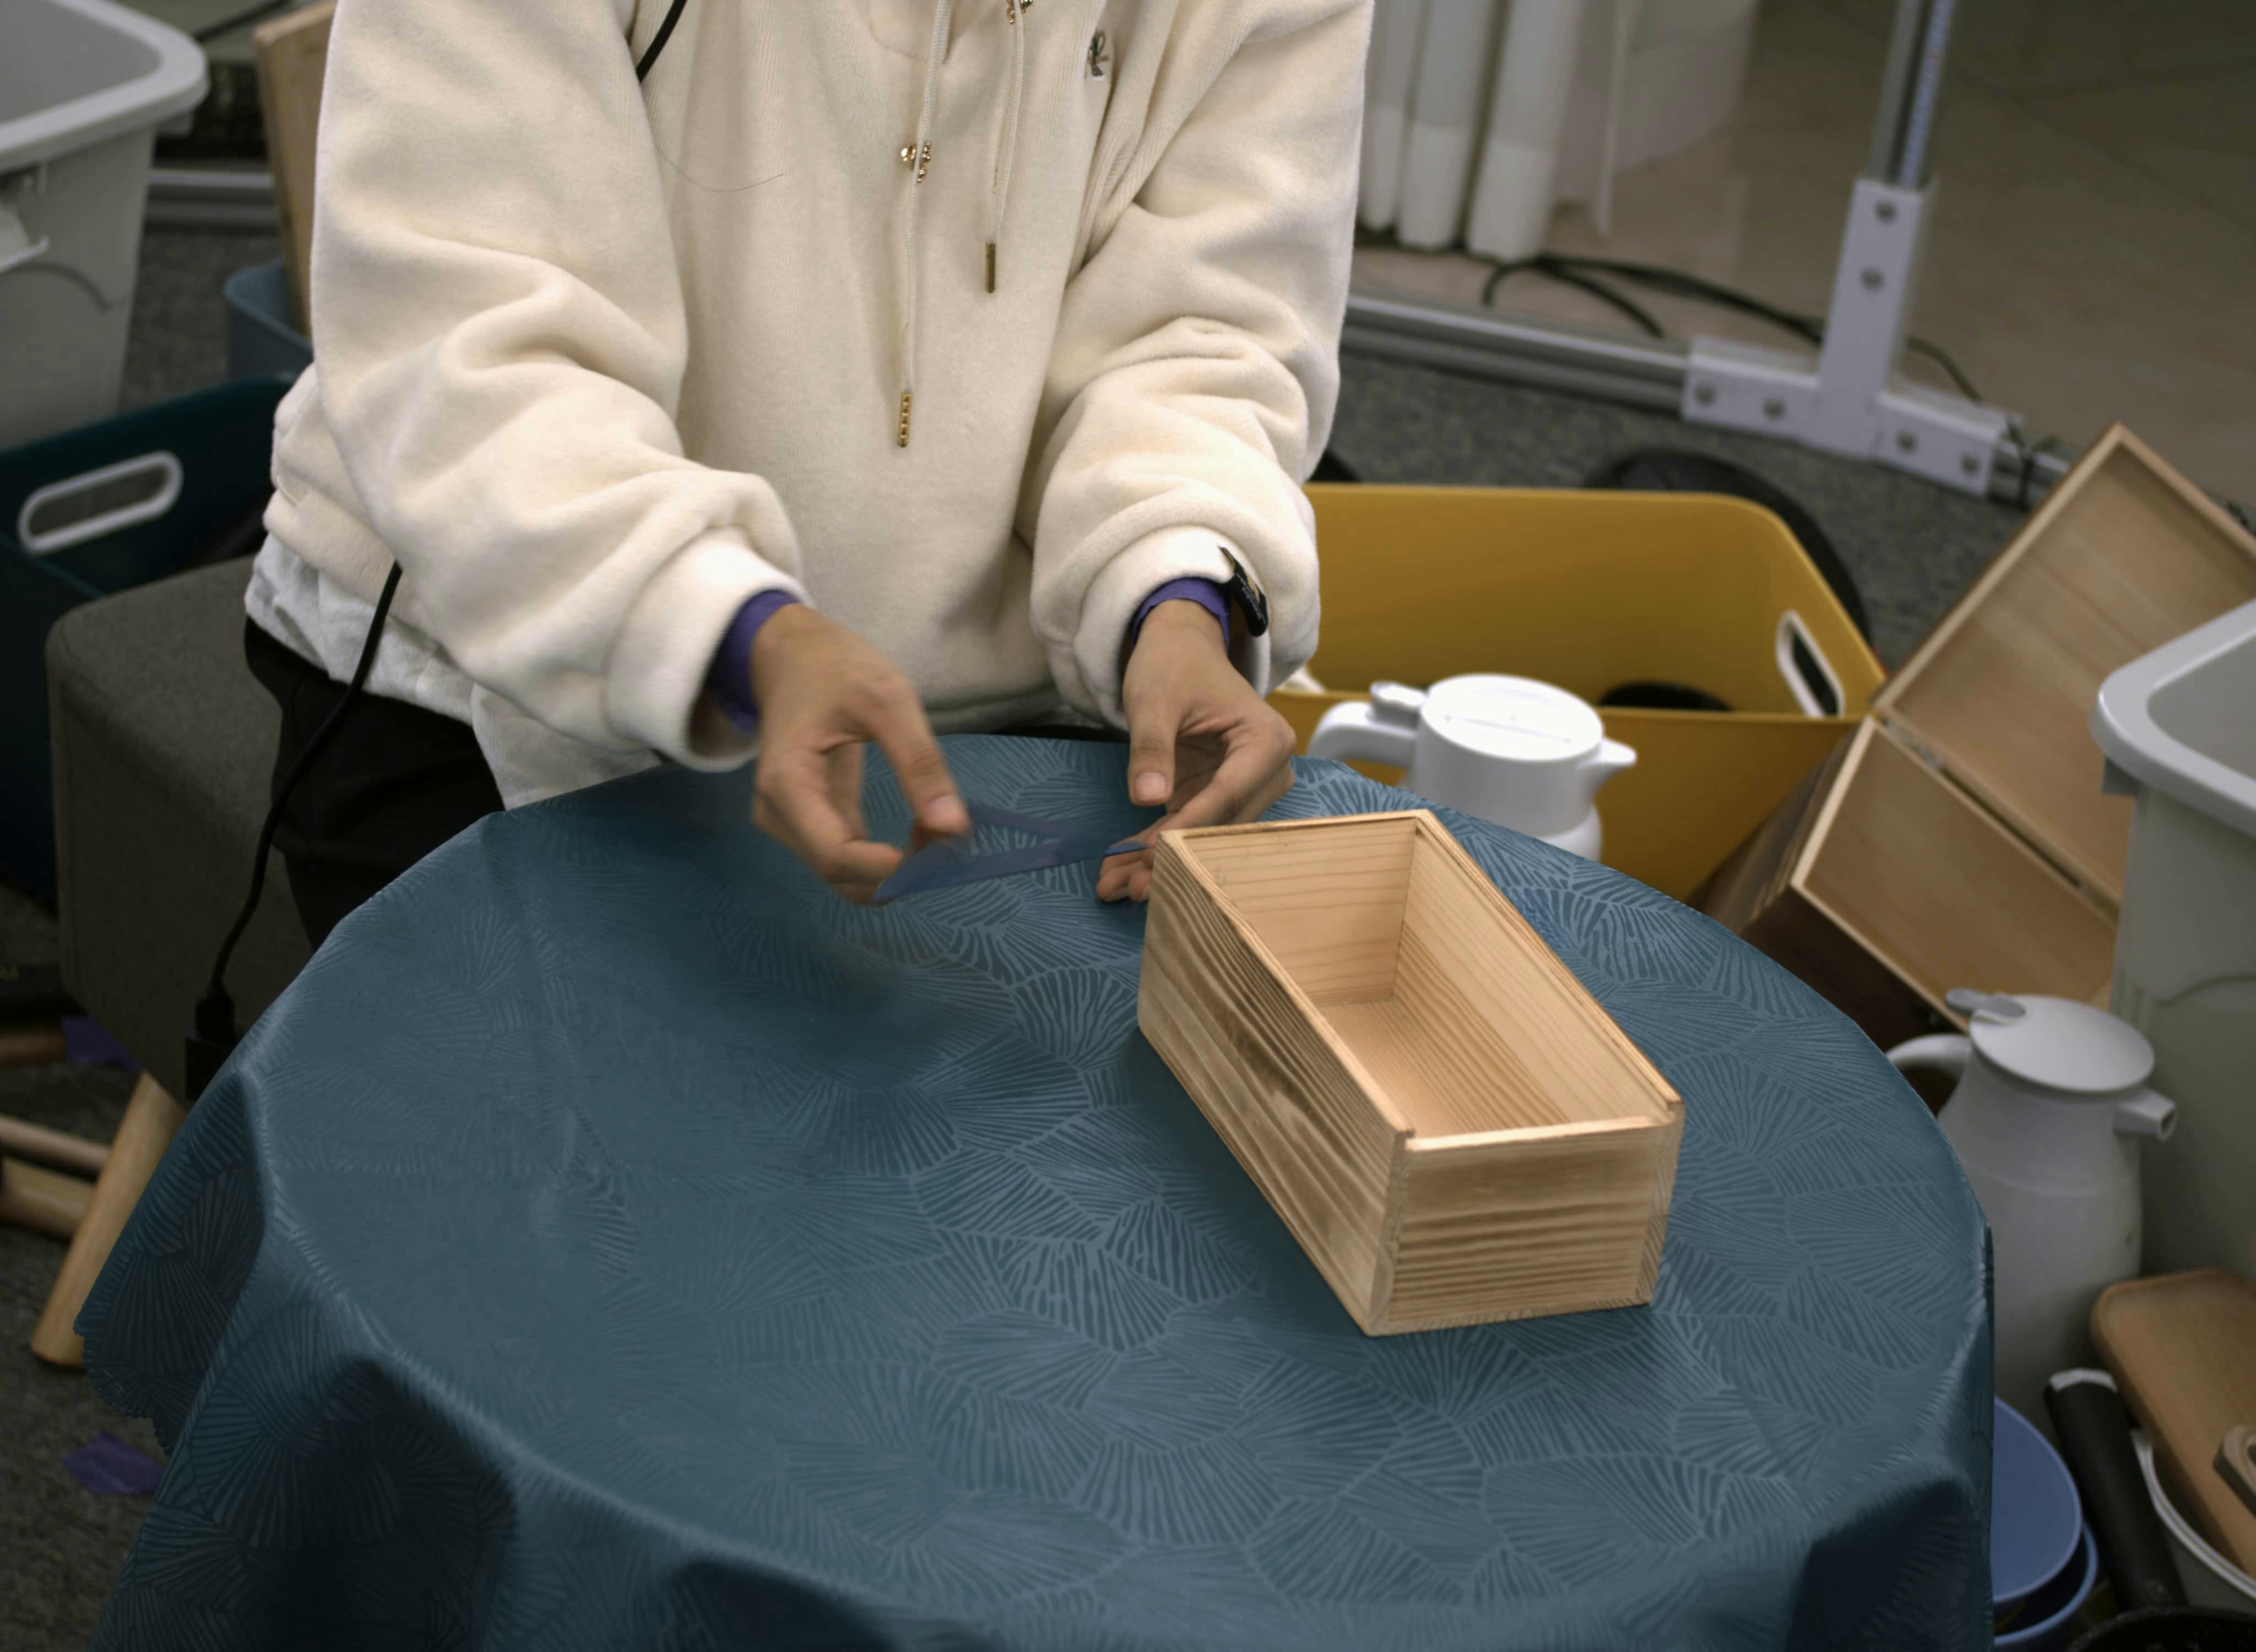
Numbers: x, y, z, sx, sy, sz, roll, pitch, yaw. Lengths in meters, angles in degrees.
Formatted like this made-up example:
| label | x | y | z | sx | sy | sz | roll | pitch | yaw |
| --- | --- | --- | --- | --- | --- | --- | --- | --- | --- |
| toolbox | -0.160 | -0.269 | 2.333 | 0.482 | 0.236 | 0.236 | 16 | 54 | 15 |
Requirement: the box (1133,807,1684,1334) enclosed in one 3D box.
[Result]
| label | x | y | z | sx | sy | sz | roll | pitch | yaw |
| --- | --- | --- | --- | --- | --- | --- | --- | --- | --- |
| box | 0.092 | 0.080 | 1.821 | 0.107 | 0.080 | 0.213 | -4 | 29 | -22 |

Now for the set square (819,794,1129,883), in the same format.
| label | x | y | z | sx | sy | sz | roll | pitch | yaw |
| --- | --- | --- | --- | --- | --- | --- | --- | --- | --- |
| set square | -0.066 | 0.002 | 1.866 | 0.131 | 0.006 | 0.061 | -7 | 26 | -40 |
